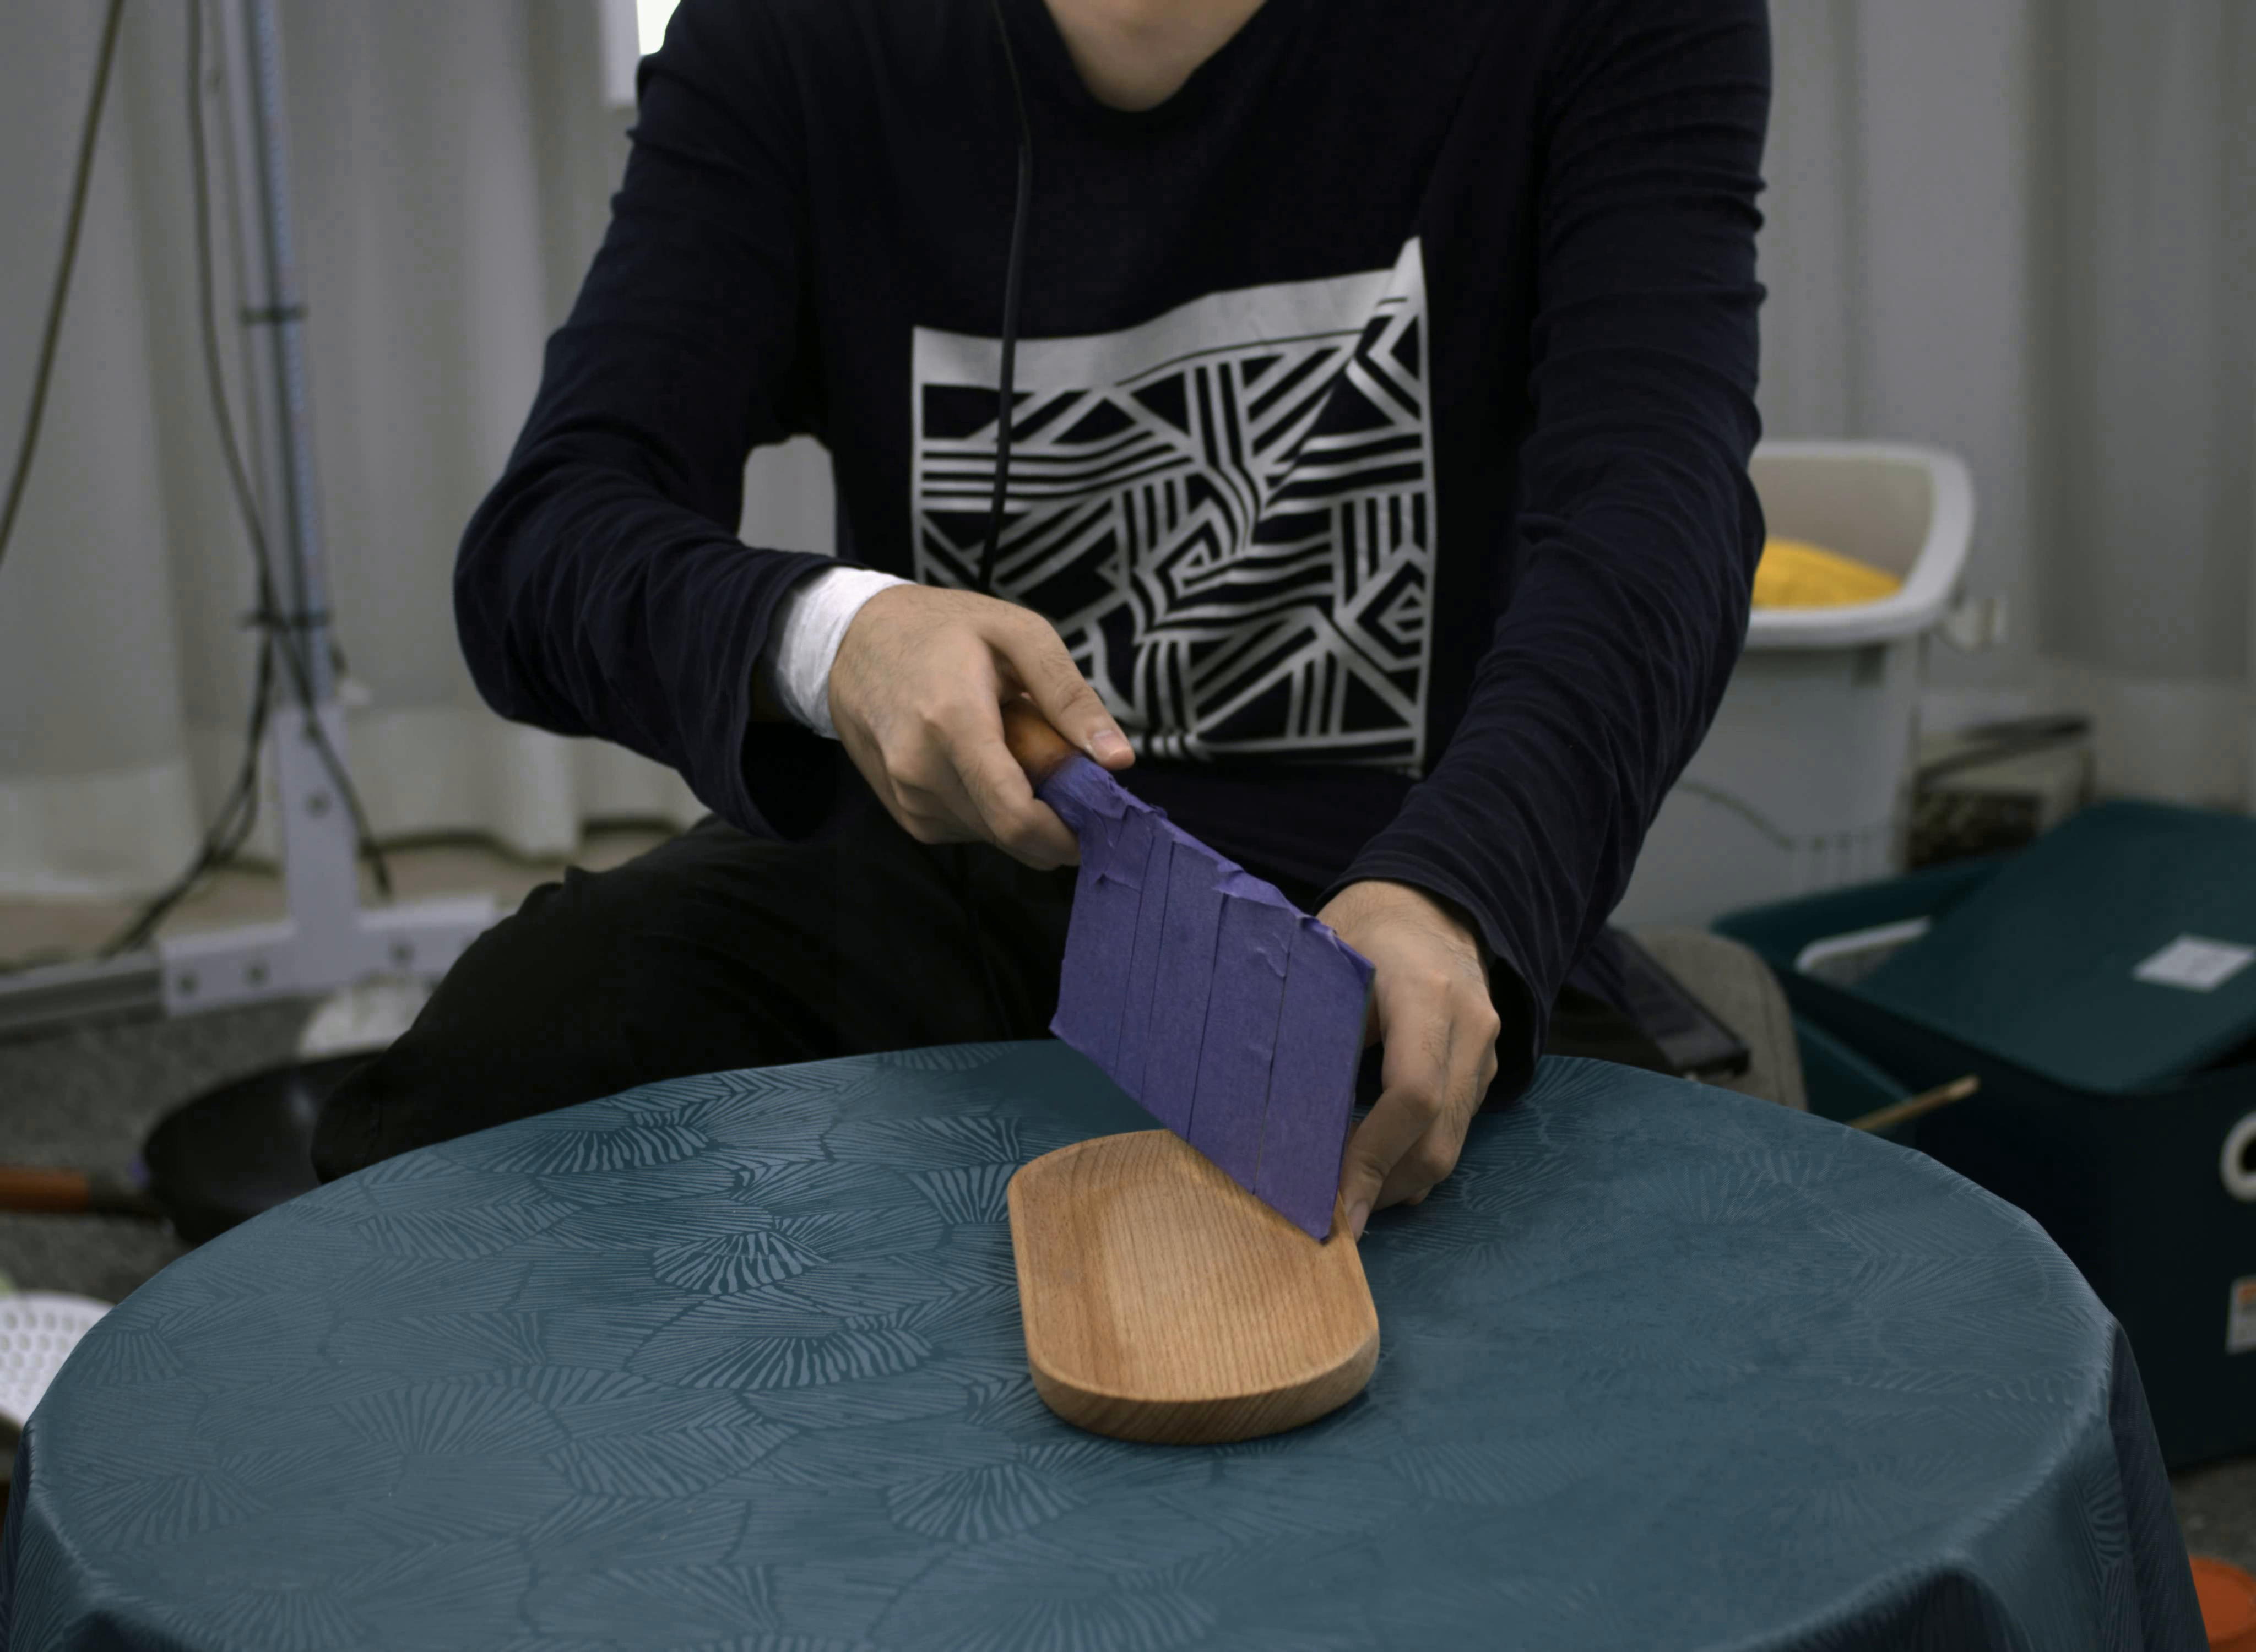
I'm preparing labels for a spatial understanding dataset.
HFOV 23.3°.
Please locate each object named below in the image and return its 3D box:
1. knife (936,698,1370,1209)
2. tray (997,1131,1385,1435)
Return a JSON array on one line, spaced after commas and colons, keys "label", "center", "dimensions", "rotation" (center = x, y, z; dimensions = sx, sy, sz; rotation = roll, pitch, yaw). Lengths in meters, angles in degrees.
[{"label": "knife", "center": [0.000, 0.038, 1.738], "dimensions": [0.032, 0.103, 0.318], "rotation": [6, 12, -23]}, {"label": "tray", "center": [0.017, 0.132, 1.612], "dimensions": [0.101, 0.020, 0.233], "rotation": [-4, 14, -4]}]
